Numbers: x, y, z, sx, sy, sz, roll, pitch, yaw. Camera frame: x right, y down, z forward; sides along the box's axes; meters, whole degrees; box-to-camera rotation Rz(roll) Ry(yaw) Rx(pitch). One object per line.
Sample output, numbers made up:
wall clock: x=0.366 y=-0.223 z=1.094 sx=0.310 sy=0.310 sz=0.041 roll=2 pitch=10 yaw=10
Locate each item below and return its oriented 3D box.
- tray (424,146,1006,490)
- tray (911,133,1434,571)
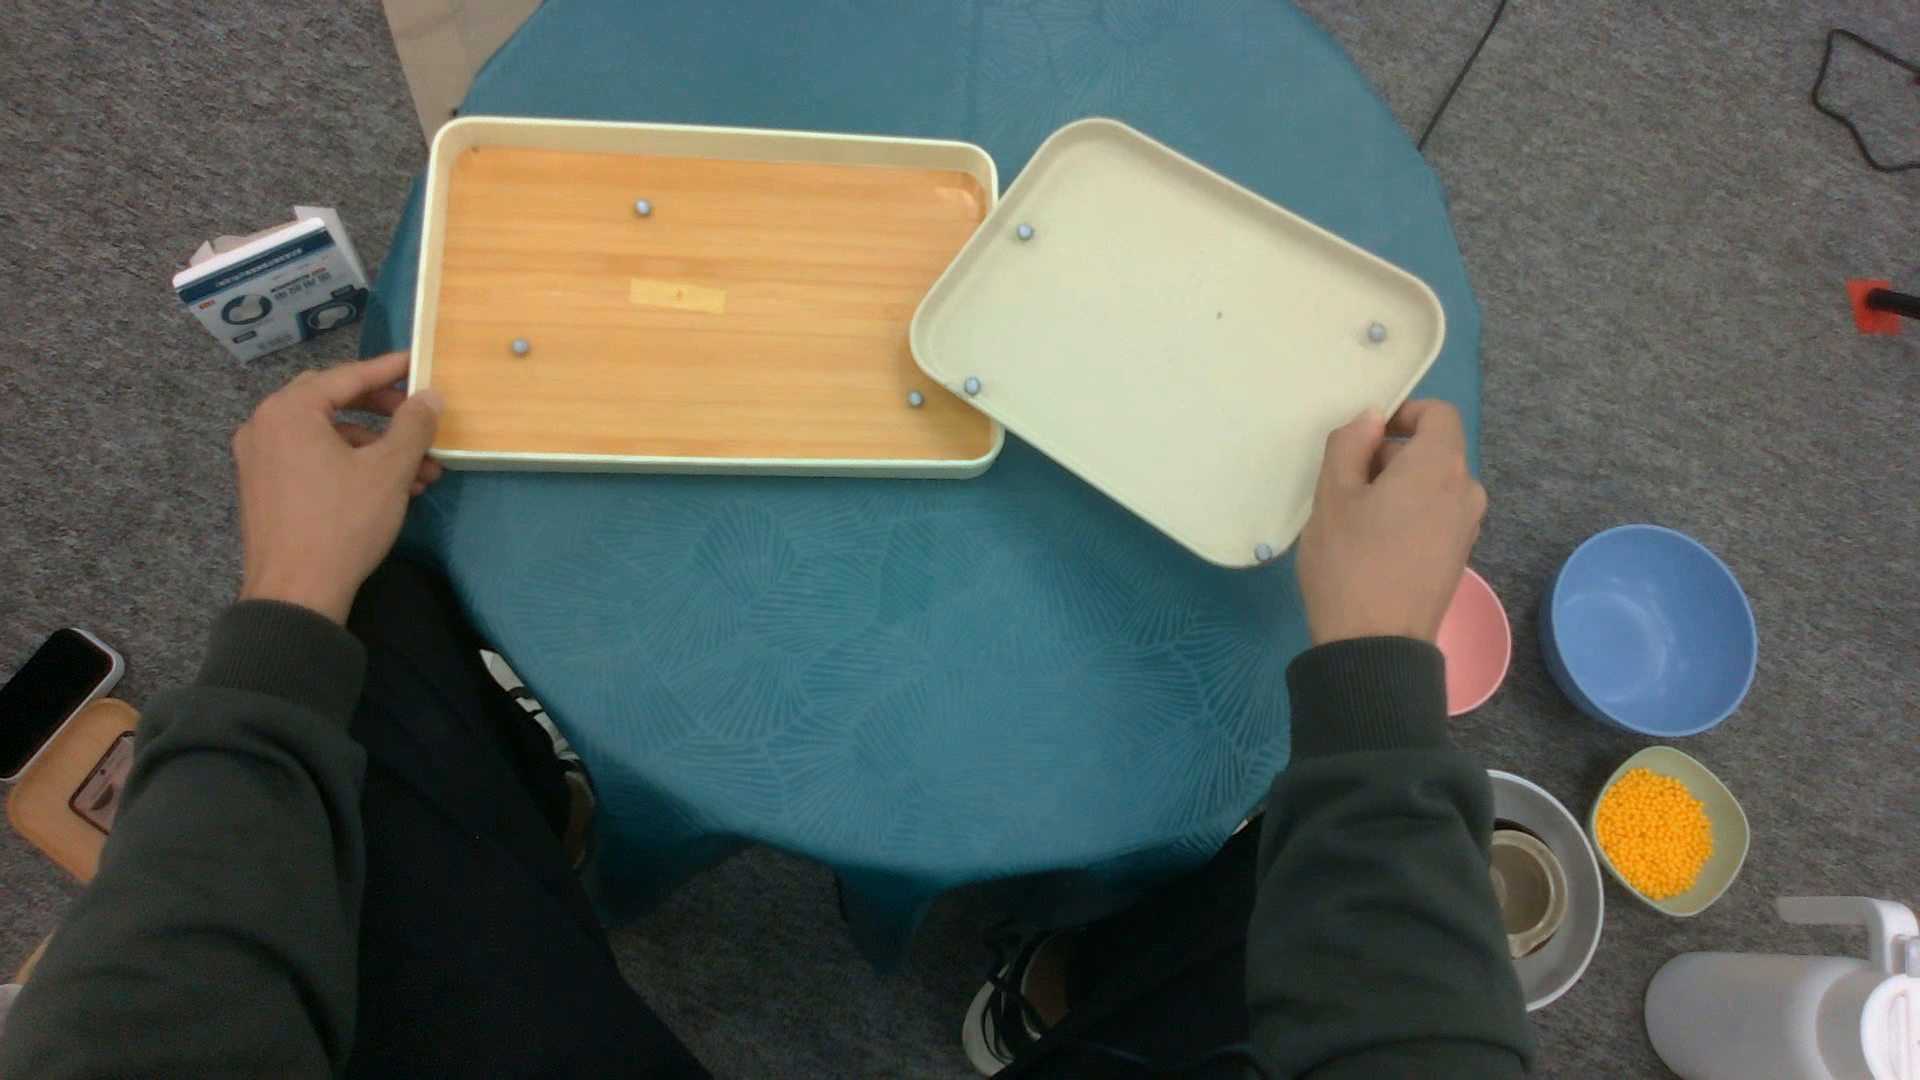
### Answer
tray: x=-0.128 y=-0.121 z=0.748 sx=0.300 sy=0.027 sz=0.192 roll=0 pitch=74 yaw=-6
tray: x=0.102 y=-0.102 z=0.708 sx=0.240 sy=0.017 sz=0.171 roll=35 pitch=85 yaw=24
